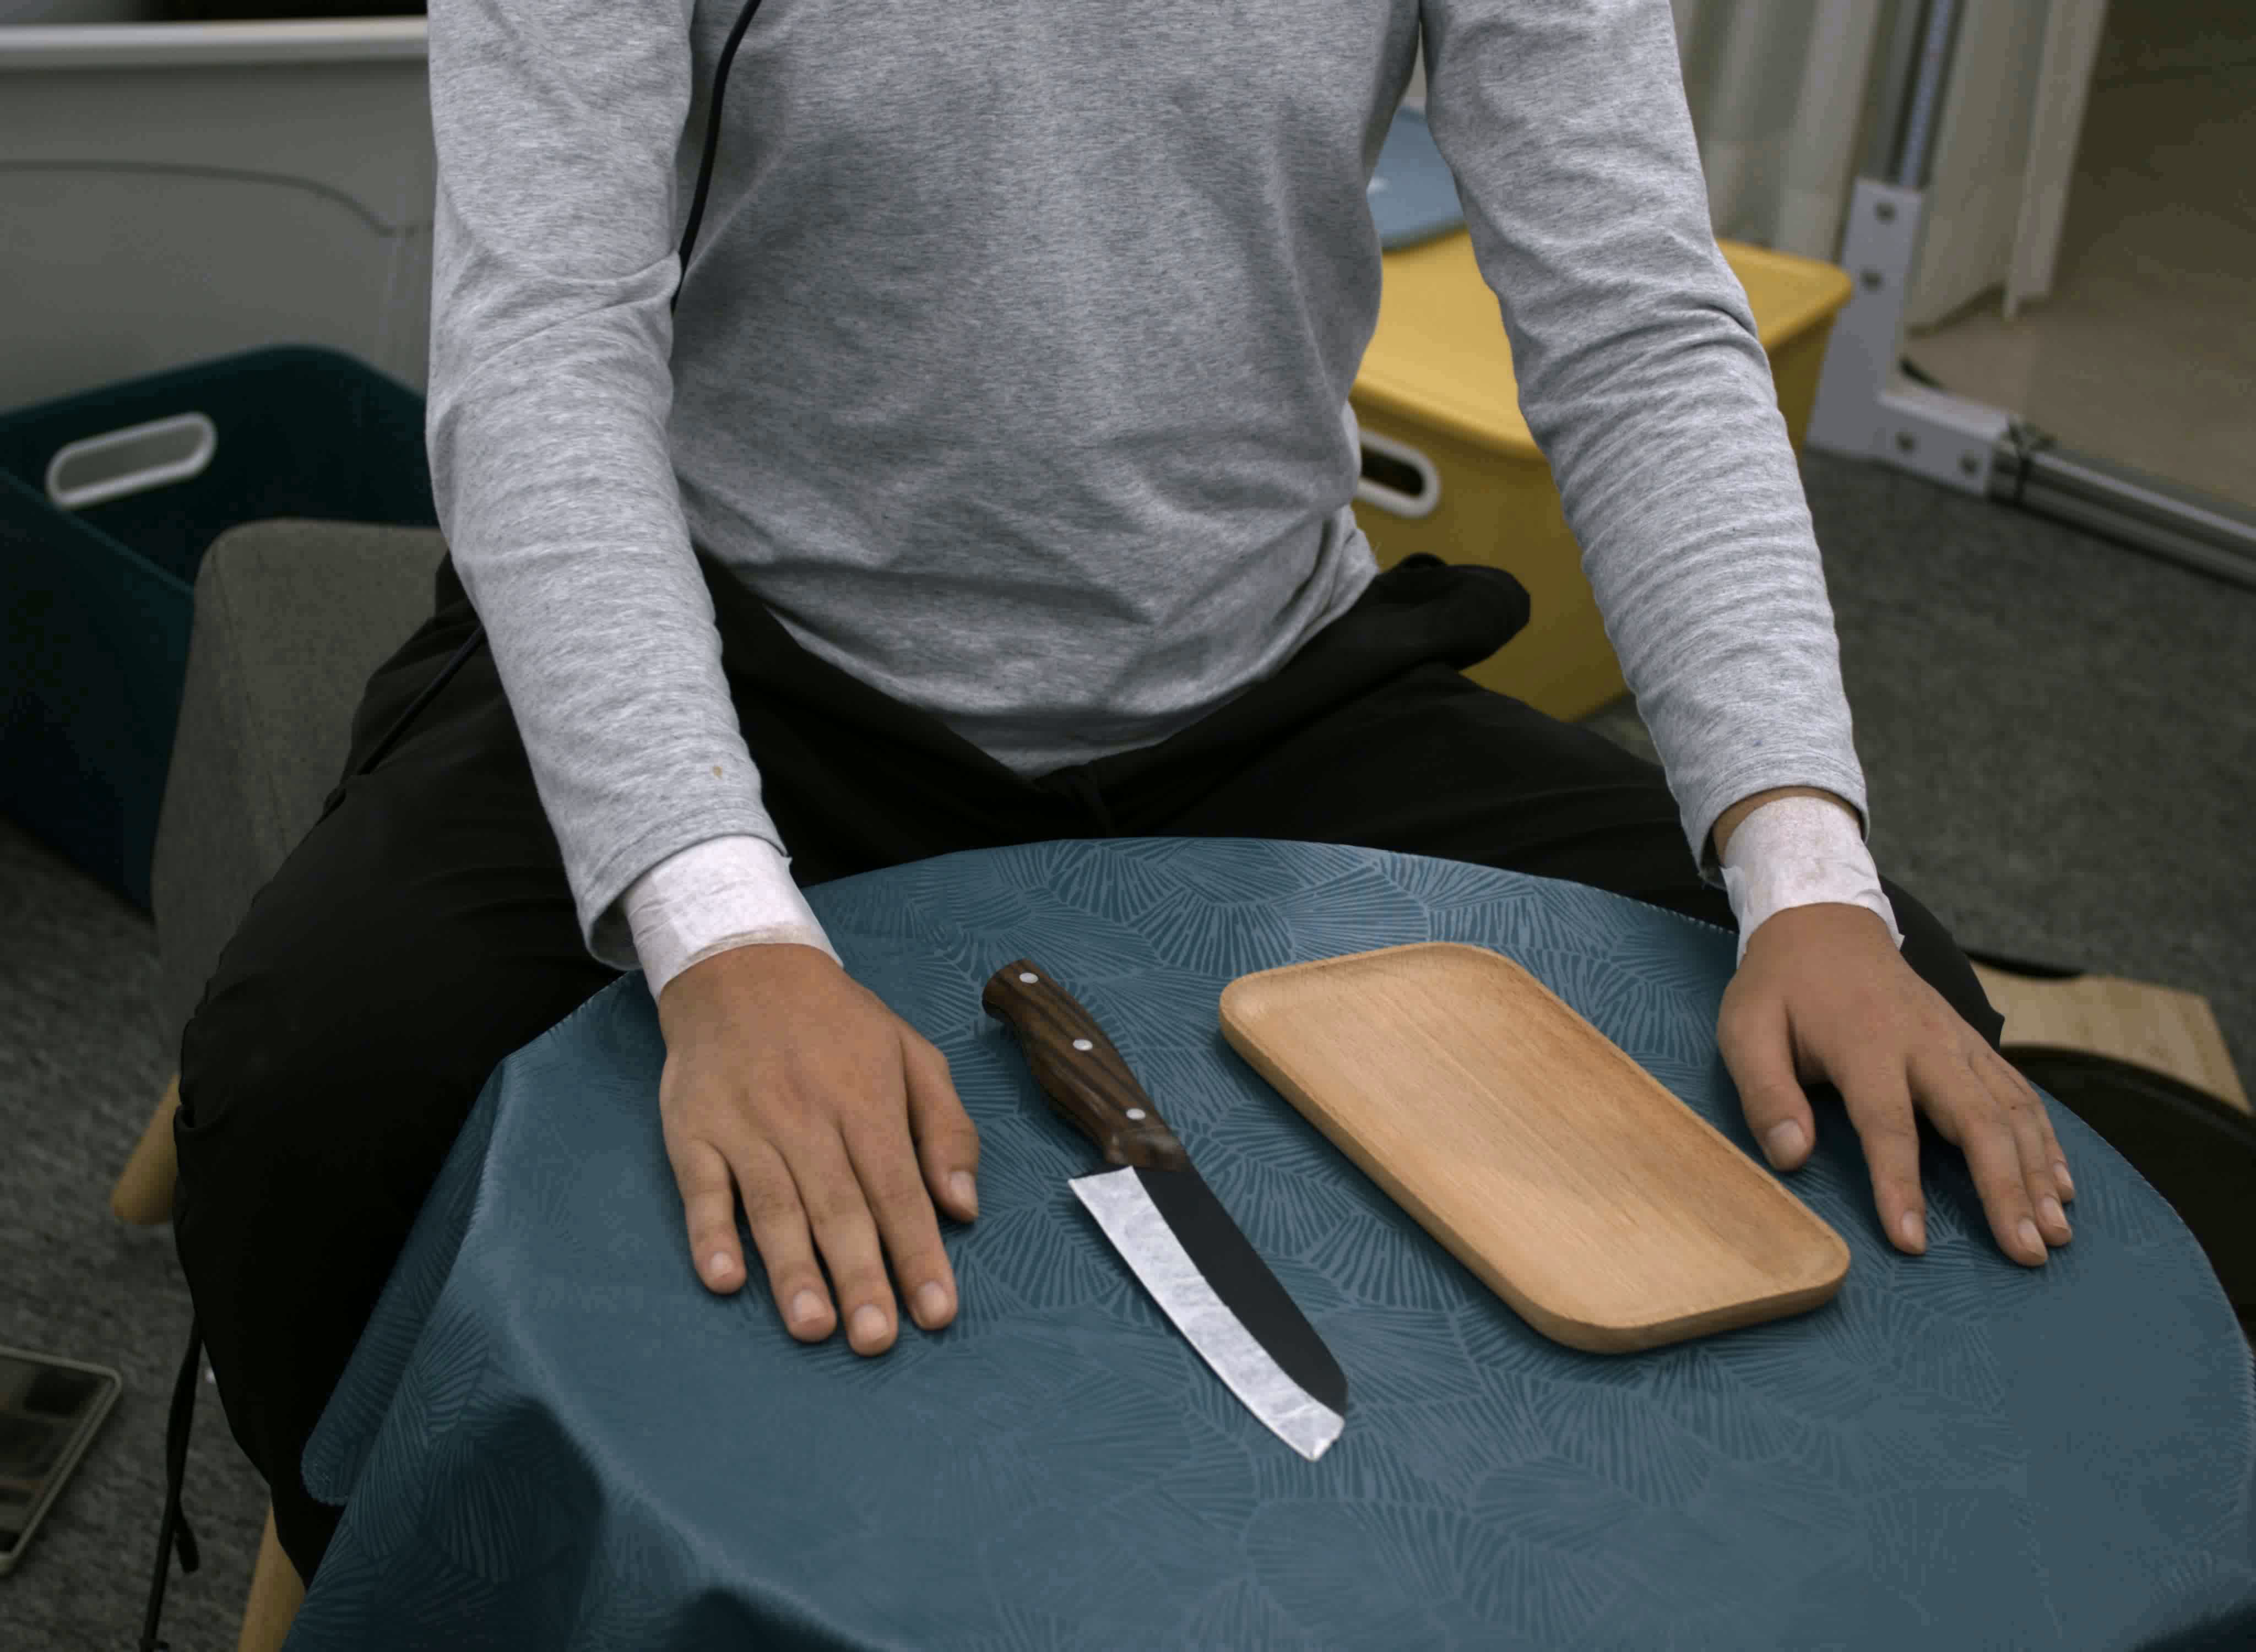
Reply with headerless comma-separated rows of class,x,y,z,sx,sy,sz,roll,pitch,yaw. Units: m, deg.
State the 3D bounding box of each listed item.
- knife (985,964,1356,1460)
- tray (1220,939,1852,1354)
knife,0.011,0.127,1.785,0.050,0.020,0.292,-10,33,-19
tray,0.138,0.108,1.850,0.129,0.023,0.253,-6,29,-28
